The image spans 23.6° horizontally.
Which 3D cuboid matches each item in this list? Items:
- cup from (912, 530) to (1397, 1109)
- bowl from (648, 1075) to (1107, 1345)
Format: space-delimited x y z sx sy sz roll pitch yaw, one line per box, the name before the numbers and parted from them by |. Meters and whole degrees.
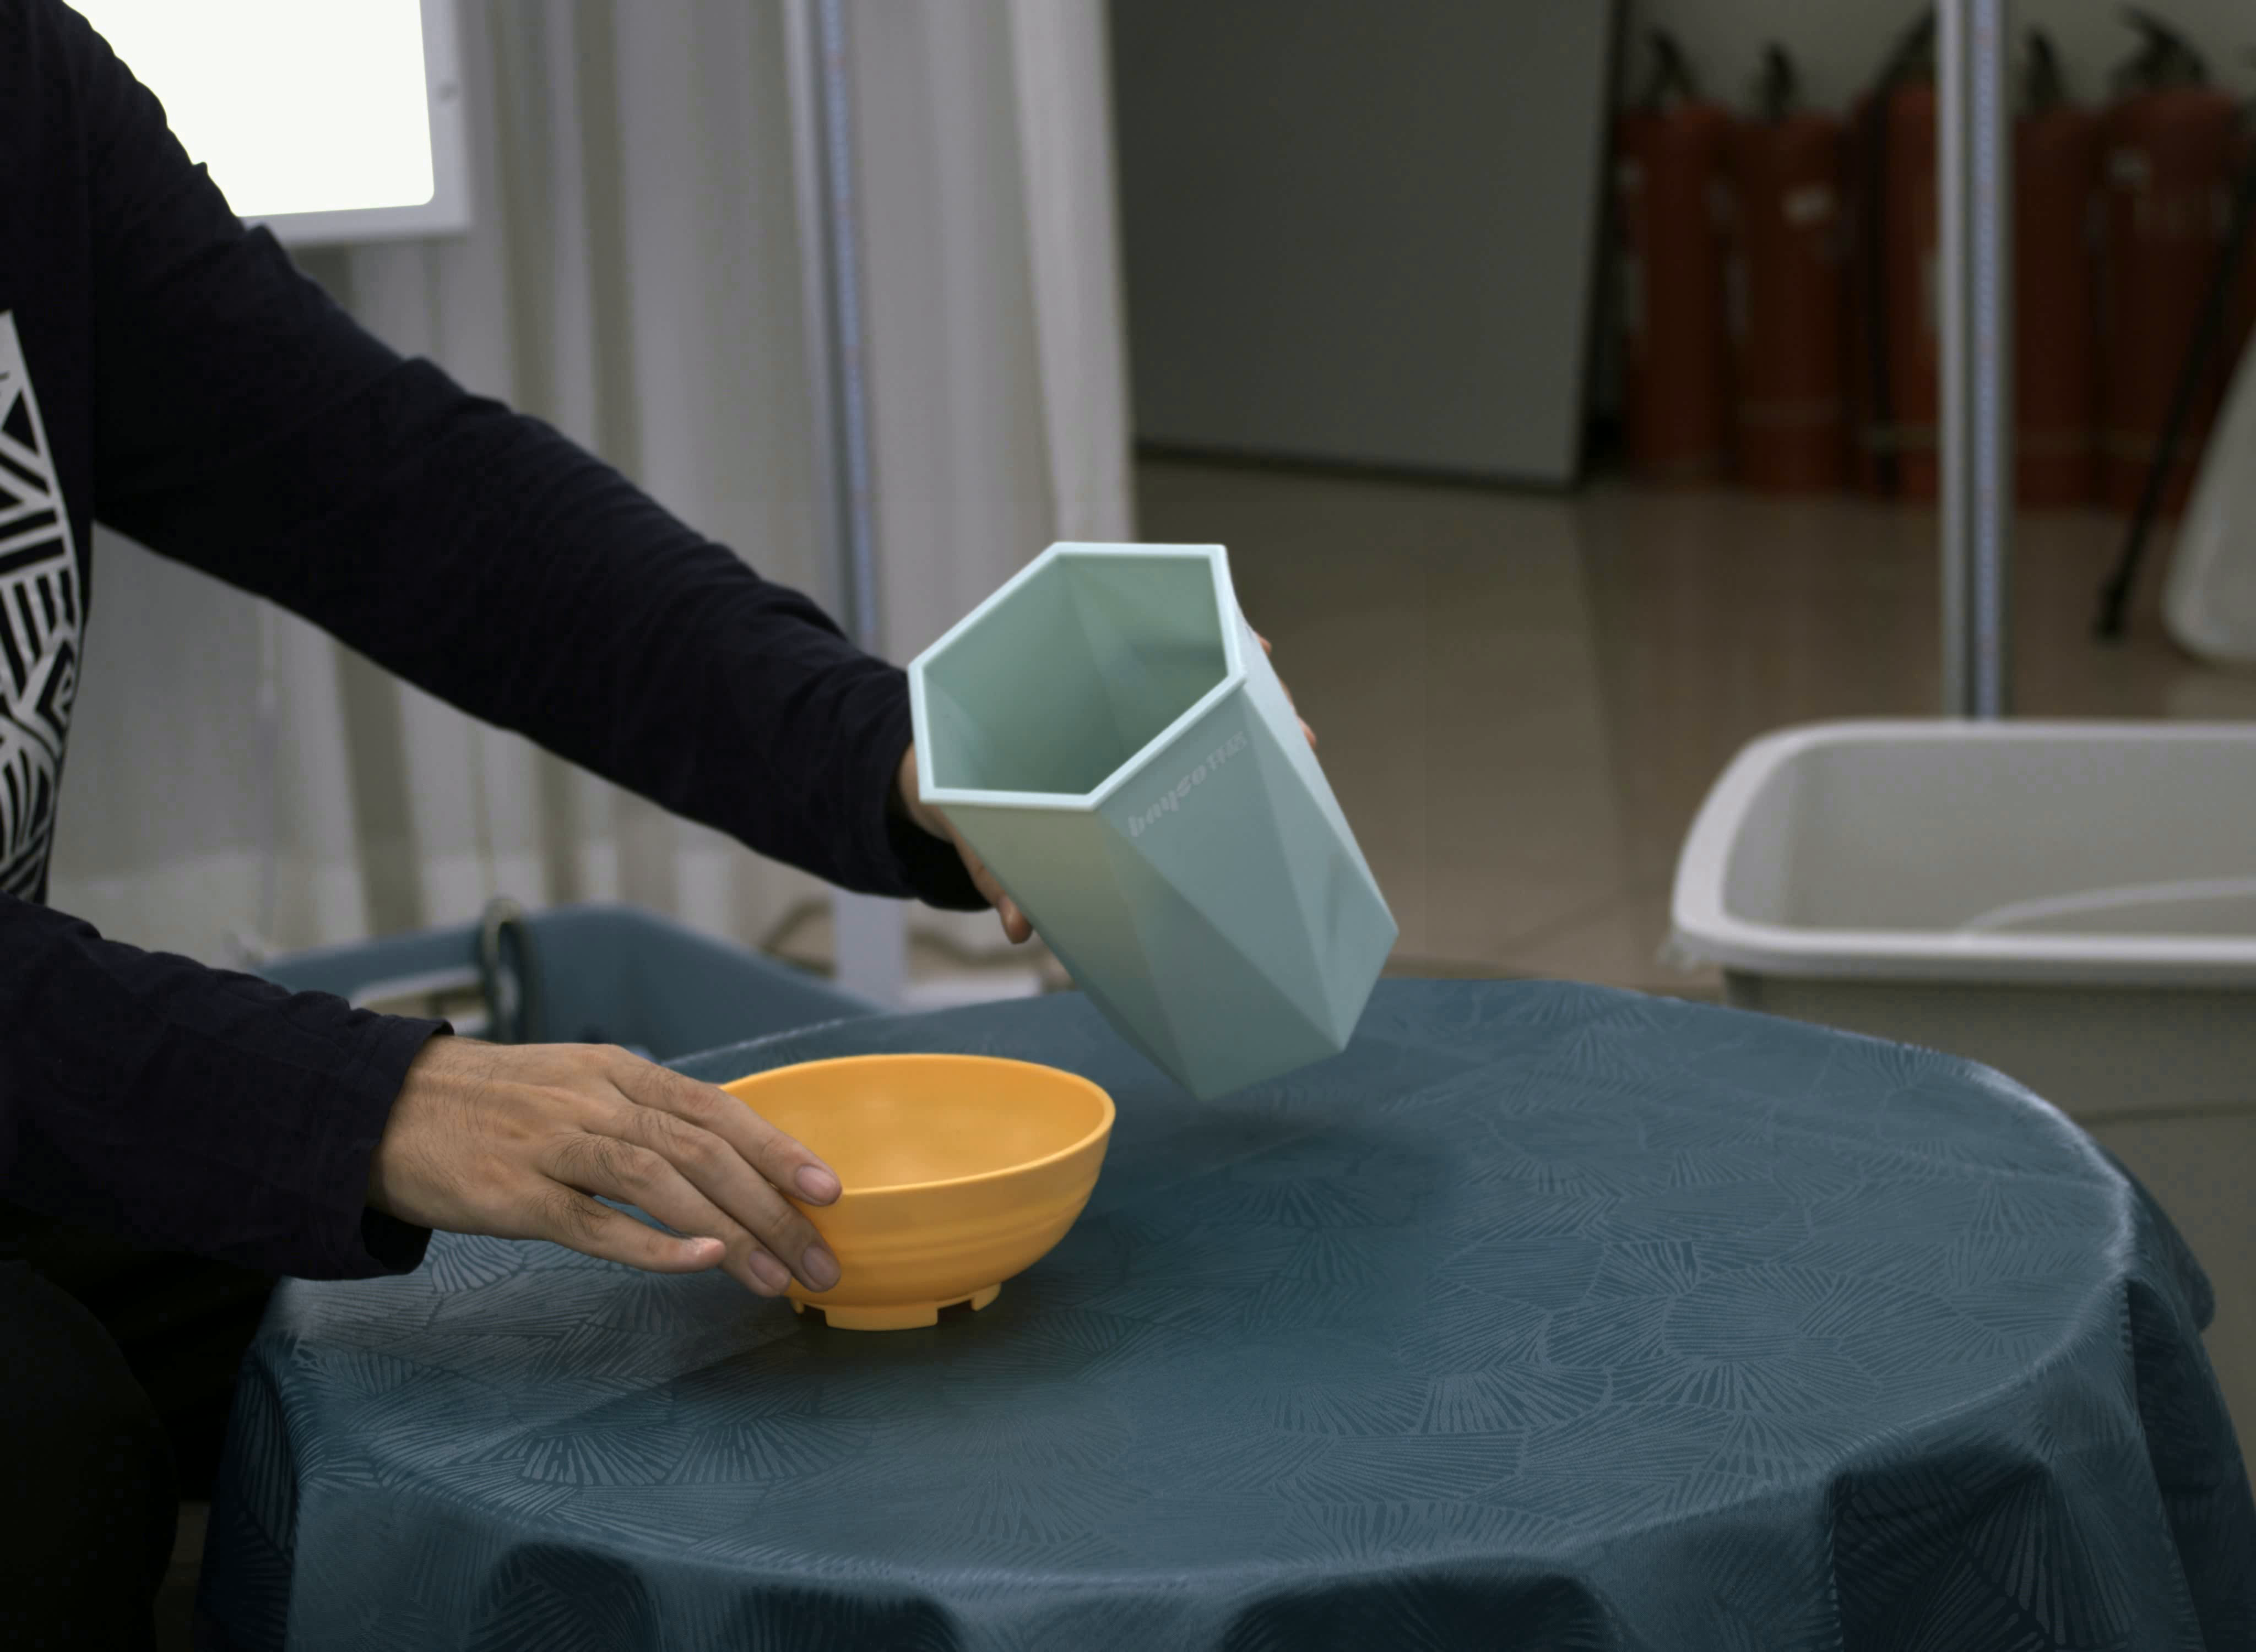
cup | 0.015 0.001 1.785 0.130 0.162 0.116 -40 38 -13
bowl | -0.075 0.123 1.680 0.143 0.061 0.145 -5 11 0
